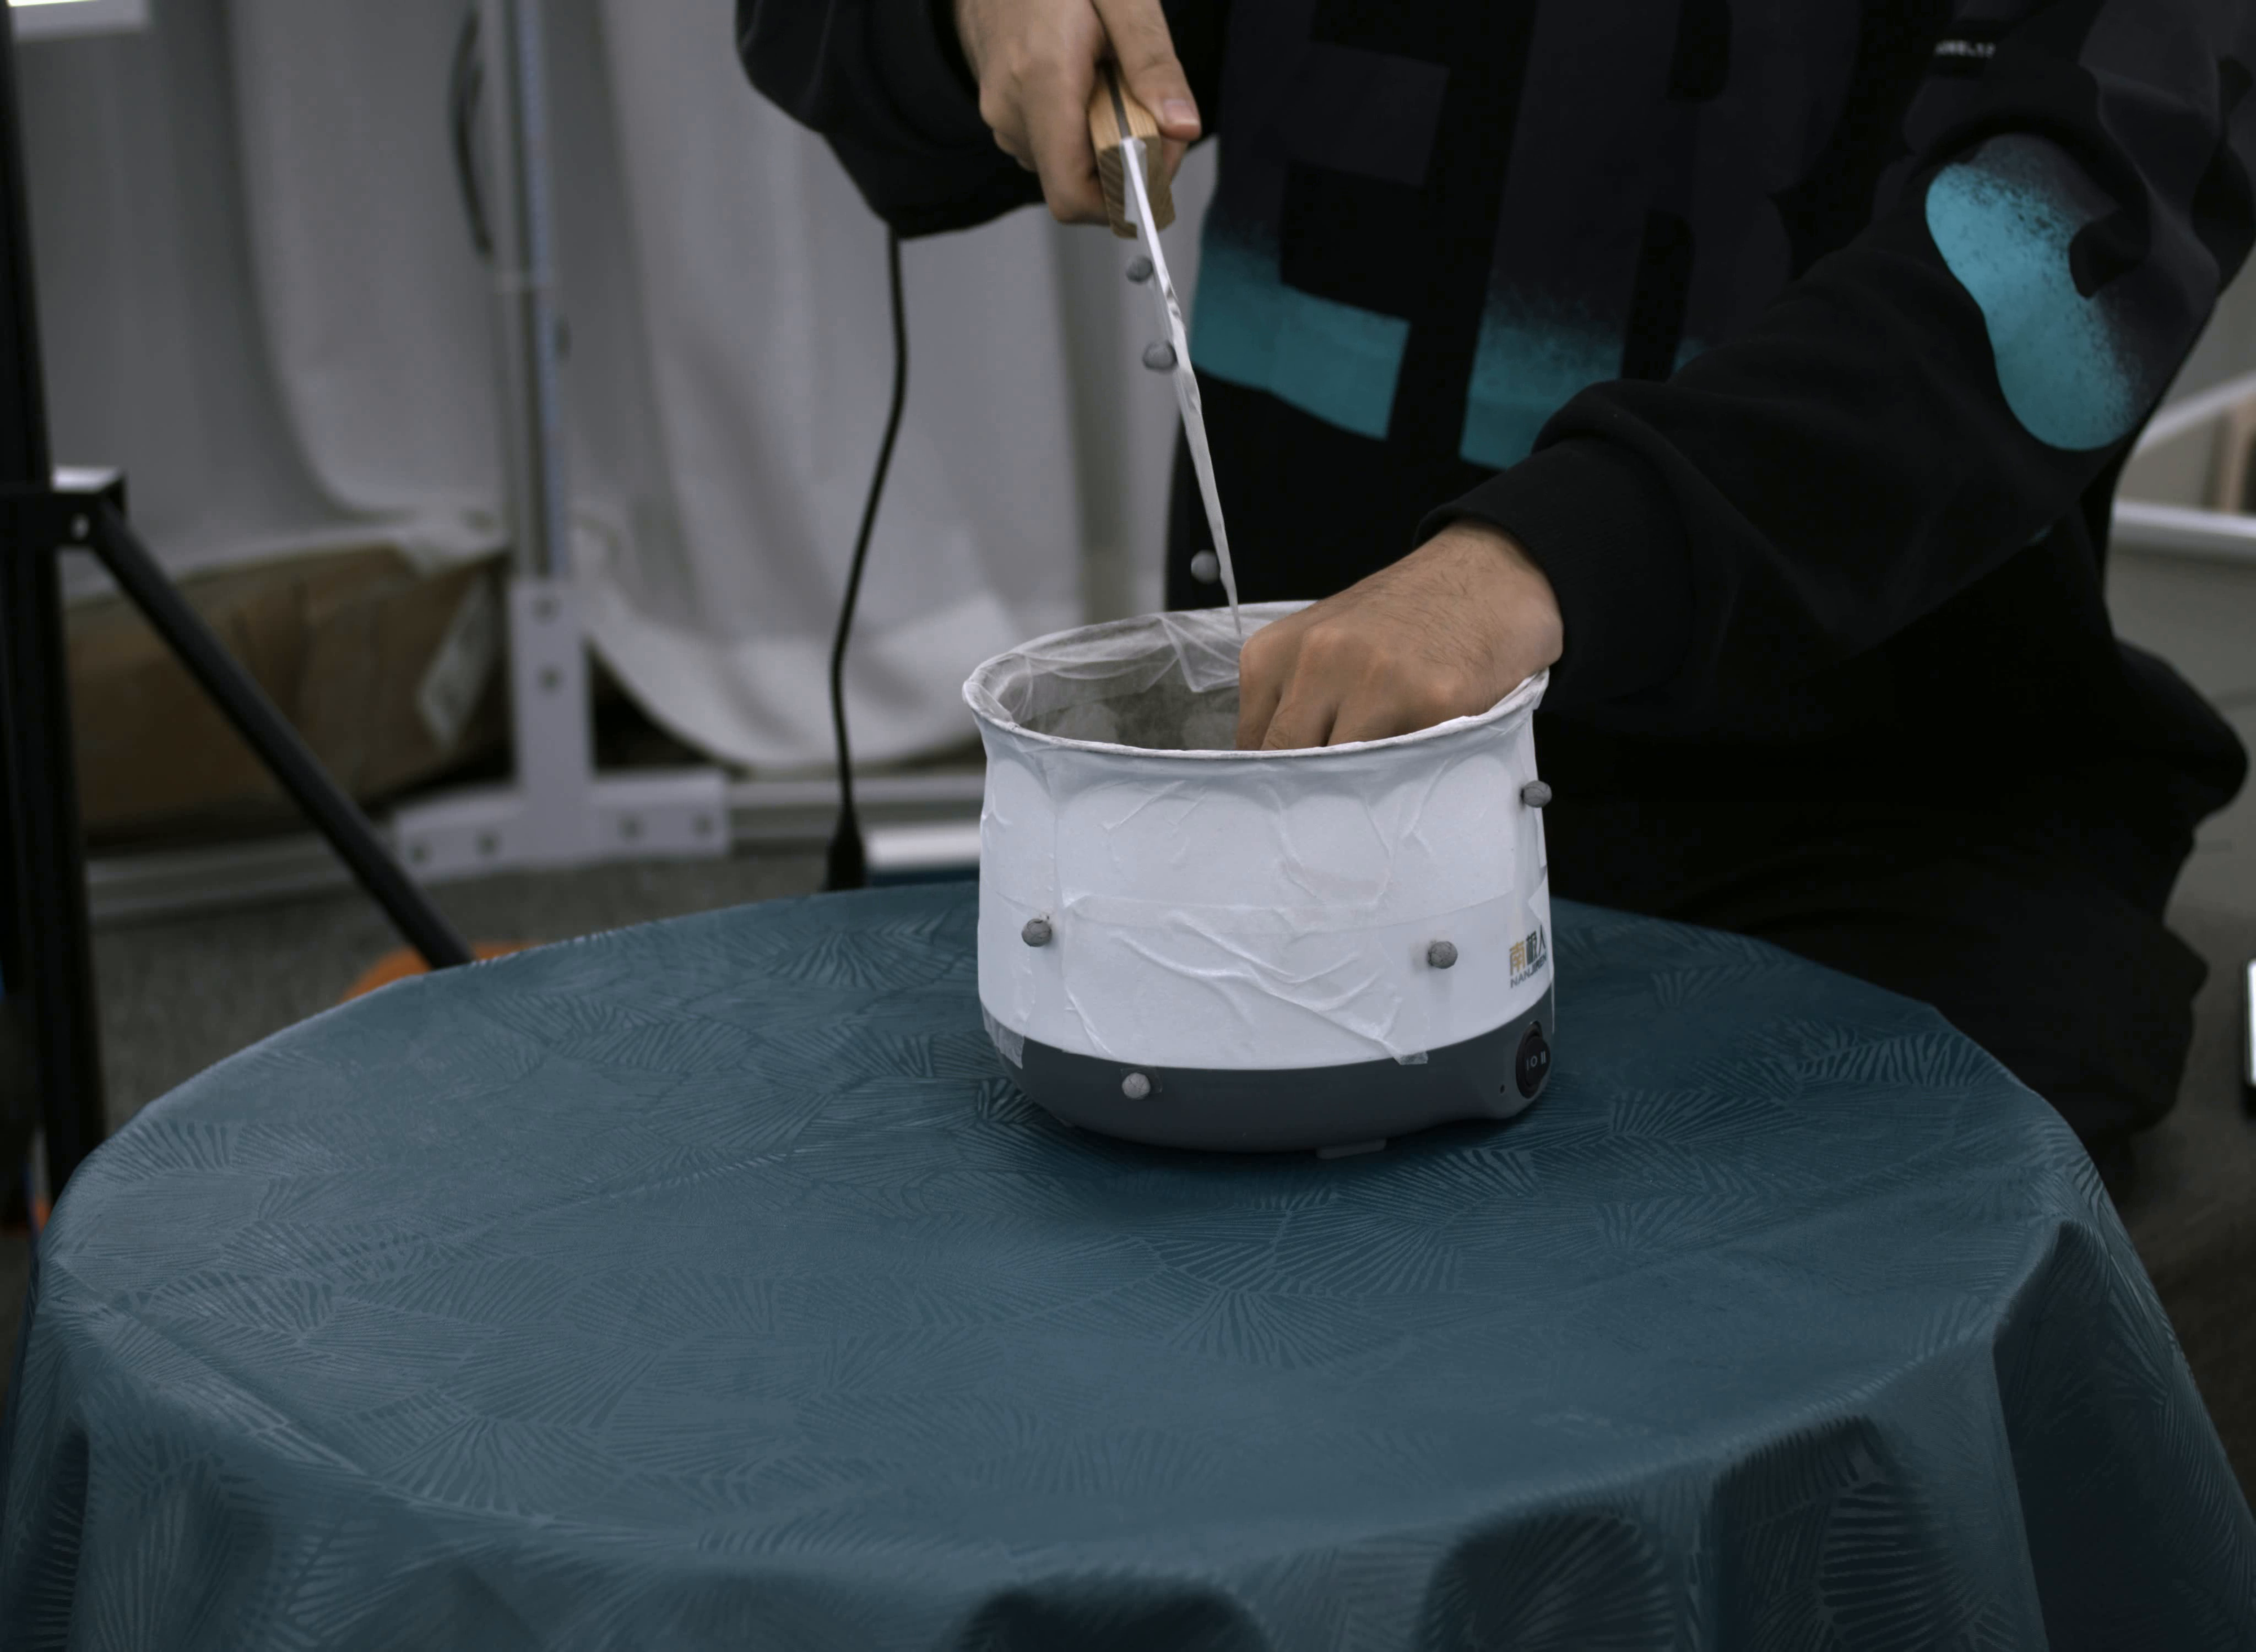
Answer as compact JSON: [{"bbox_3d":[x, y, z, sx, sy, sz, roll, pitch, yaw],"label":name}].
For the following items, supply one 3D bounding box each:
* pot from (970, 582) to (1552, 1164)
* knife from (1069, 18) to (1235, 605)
[{"bbox_3d":[0.053,0.008,1.648,0.181,0.136,0.230,6,19,25],"label":"pot"},{"bbox_3d":[0.008,-0.179,1.681,0.021,0.113,0.319,-12,32,0],"label":"knife"}]
